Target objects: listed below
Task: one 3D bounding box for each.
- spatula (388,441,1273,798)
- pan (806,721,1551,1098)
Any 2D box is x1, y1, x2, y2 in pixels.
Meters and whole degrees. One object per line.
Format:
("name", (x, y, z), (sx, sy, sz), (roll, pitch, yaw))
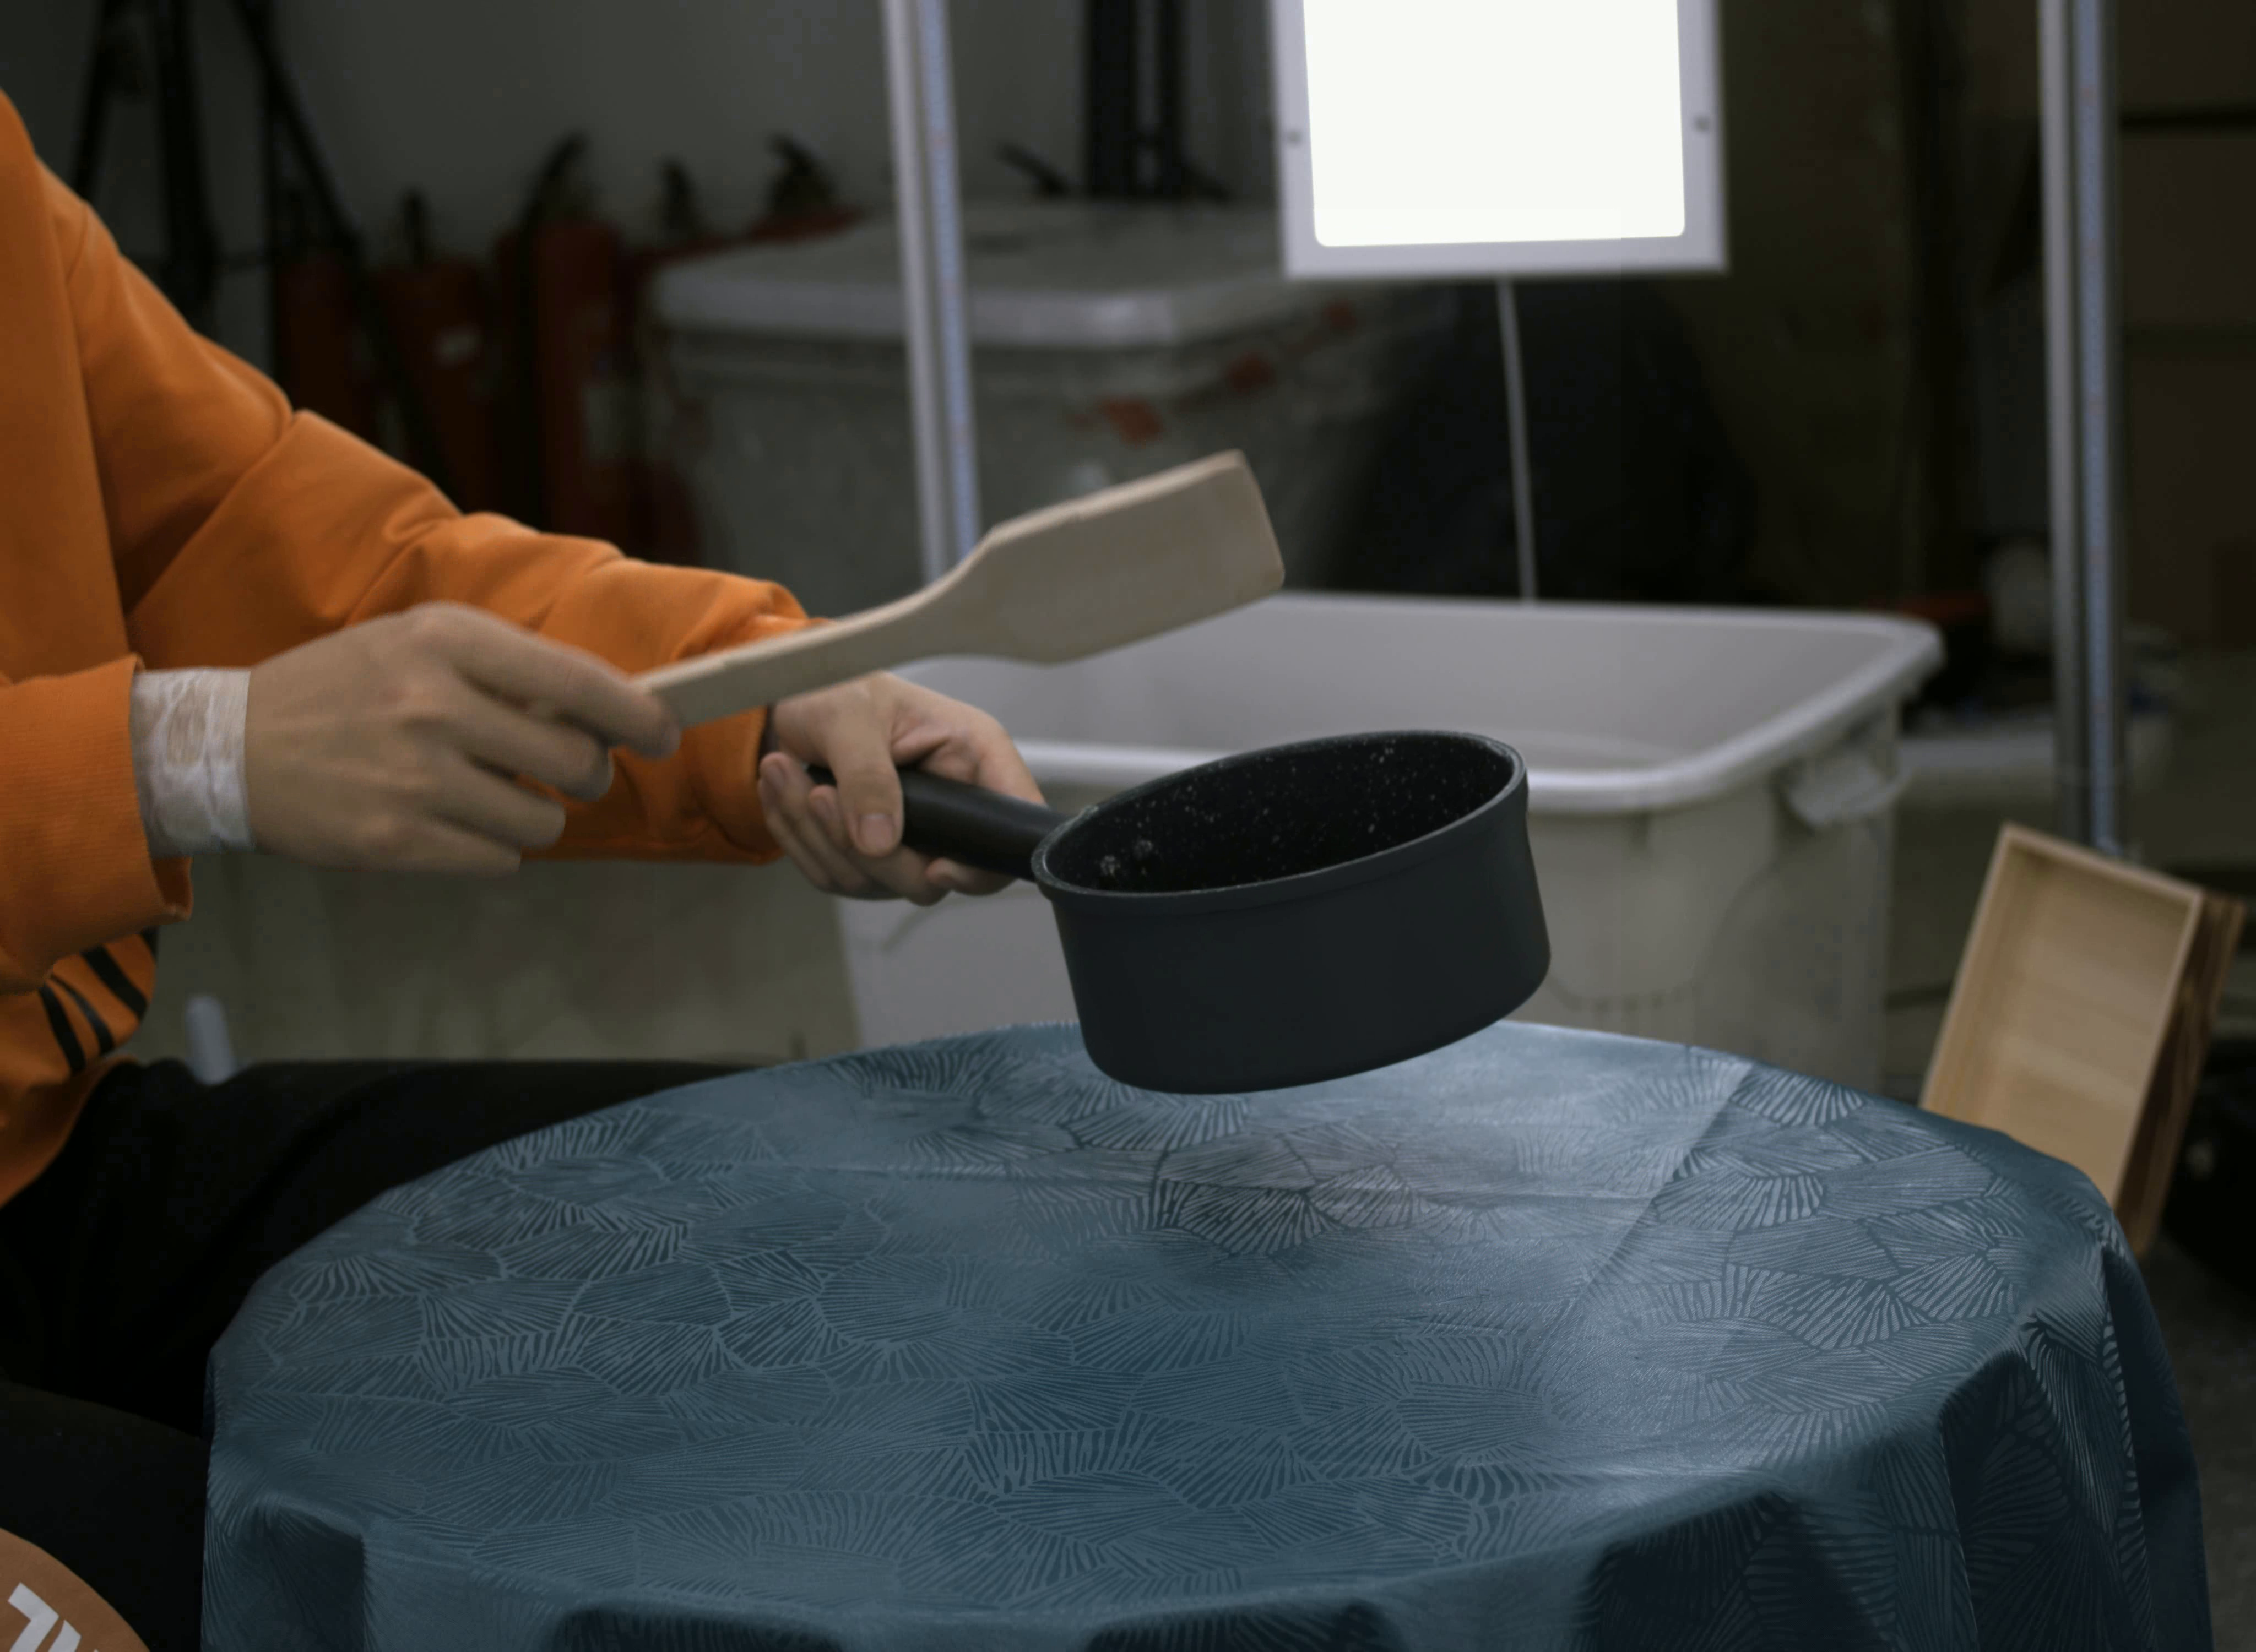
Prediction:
("spatula", (-0.098, -0.058, 1.758), (0.294, 0.072, 0.011), (-17, 53, 7))
("pan", (0.004, 0.021, 1.930), (0.168, 0.086, 0.336), (-24, 20, -37))
